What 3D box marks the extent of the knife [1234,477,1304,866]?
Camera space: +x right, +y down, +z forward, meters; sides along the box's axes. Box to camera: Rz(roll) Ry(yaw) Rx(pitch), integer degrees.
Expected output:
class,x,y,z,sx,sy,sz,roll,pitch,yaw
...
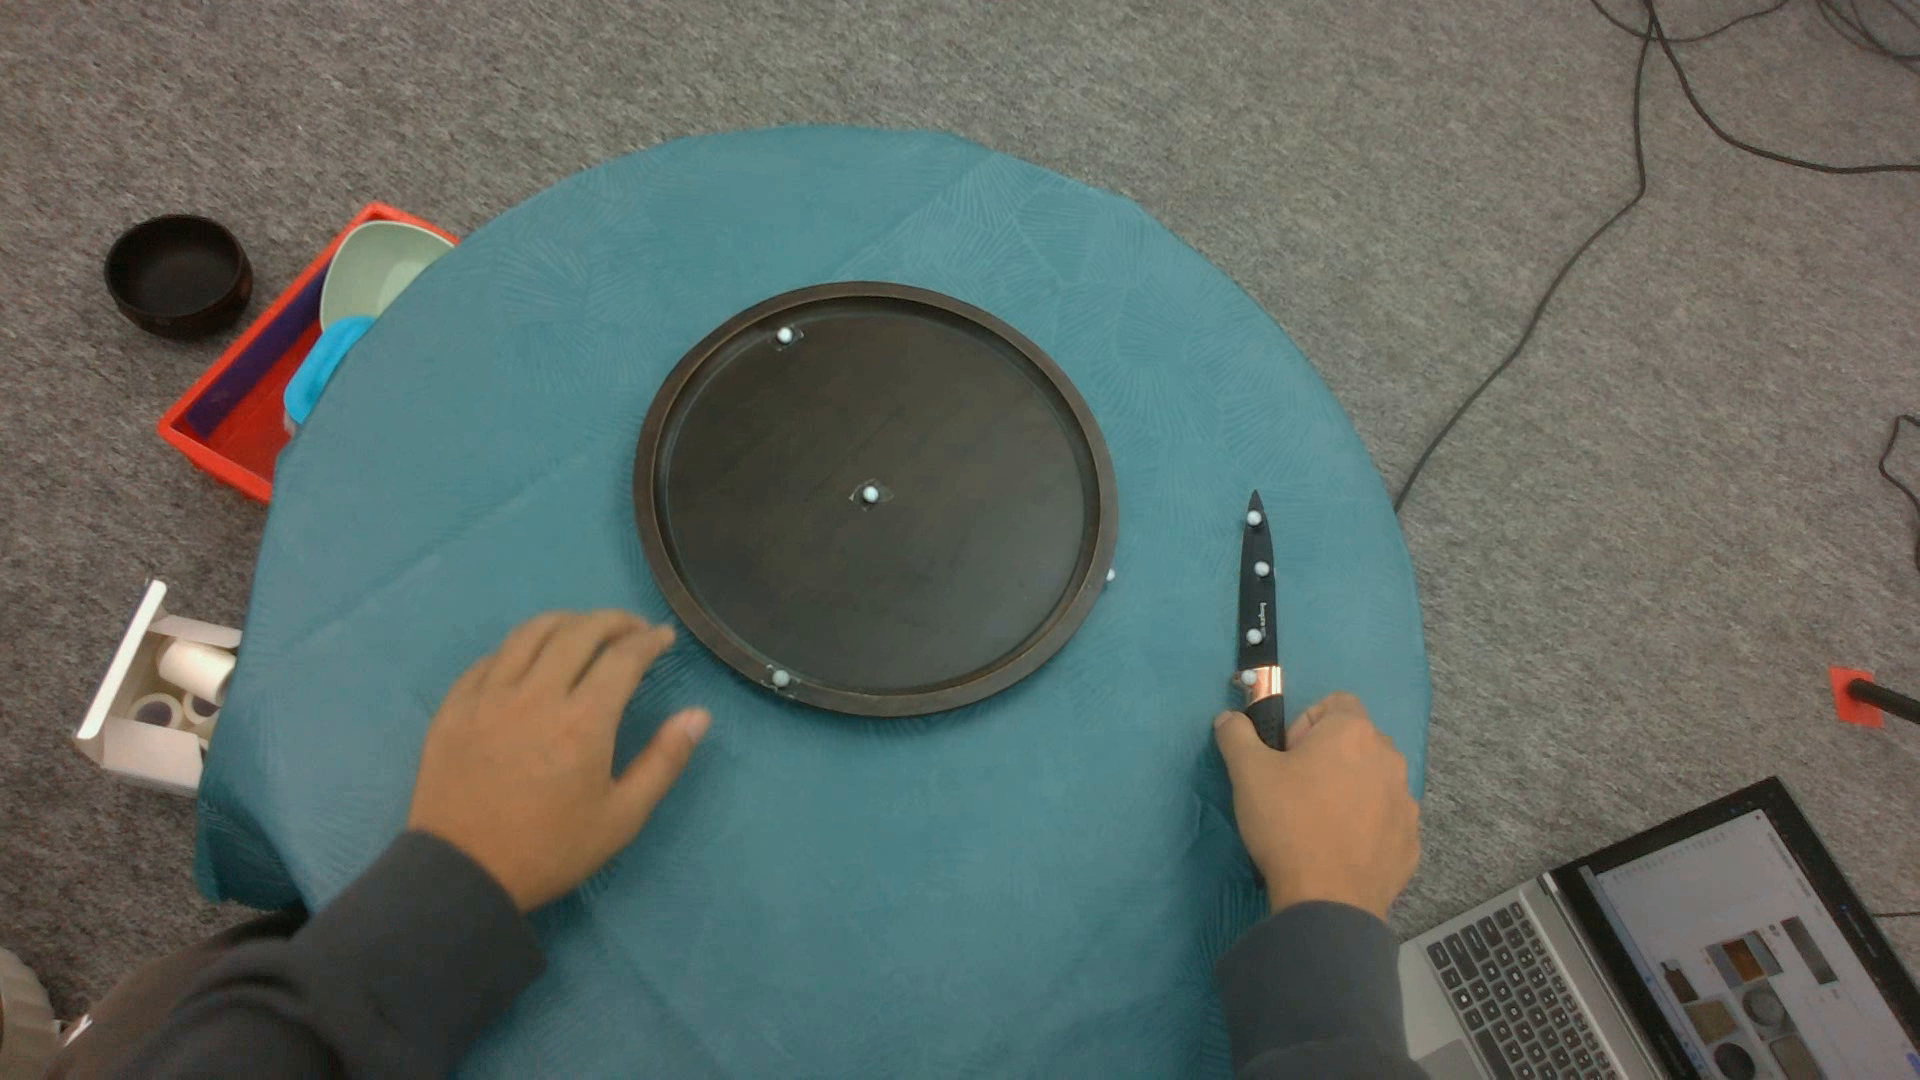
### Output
class,x,y,z,sx,sy,sz,roll,pitch,yaw
knife,0.162,0.061,0.728,0.026,0.017,0.226,-18,55,31

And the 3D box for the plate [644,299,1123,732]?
class,x,y,z,sx,sy,sz,roll,pitch,yaw
plate,-0.038,-0.019,0.732,0.255,0.029,0.255,4,65,-8
